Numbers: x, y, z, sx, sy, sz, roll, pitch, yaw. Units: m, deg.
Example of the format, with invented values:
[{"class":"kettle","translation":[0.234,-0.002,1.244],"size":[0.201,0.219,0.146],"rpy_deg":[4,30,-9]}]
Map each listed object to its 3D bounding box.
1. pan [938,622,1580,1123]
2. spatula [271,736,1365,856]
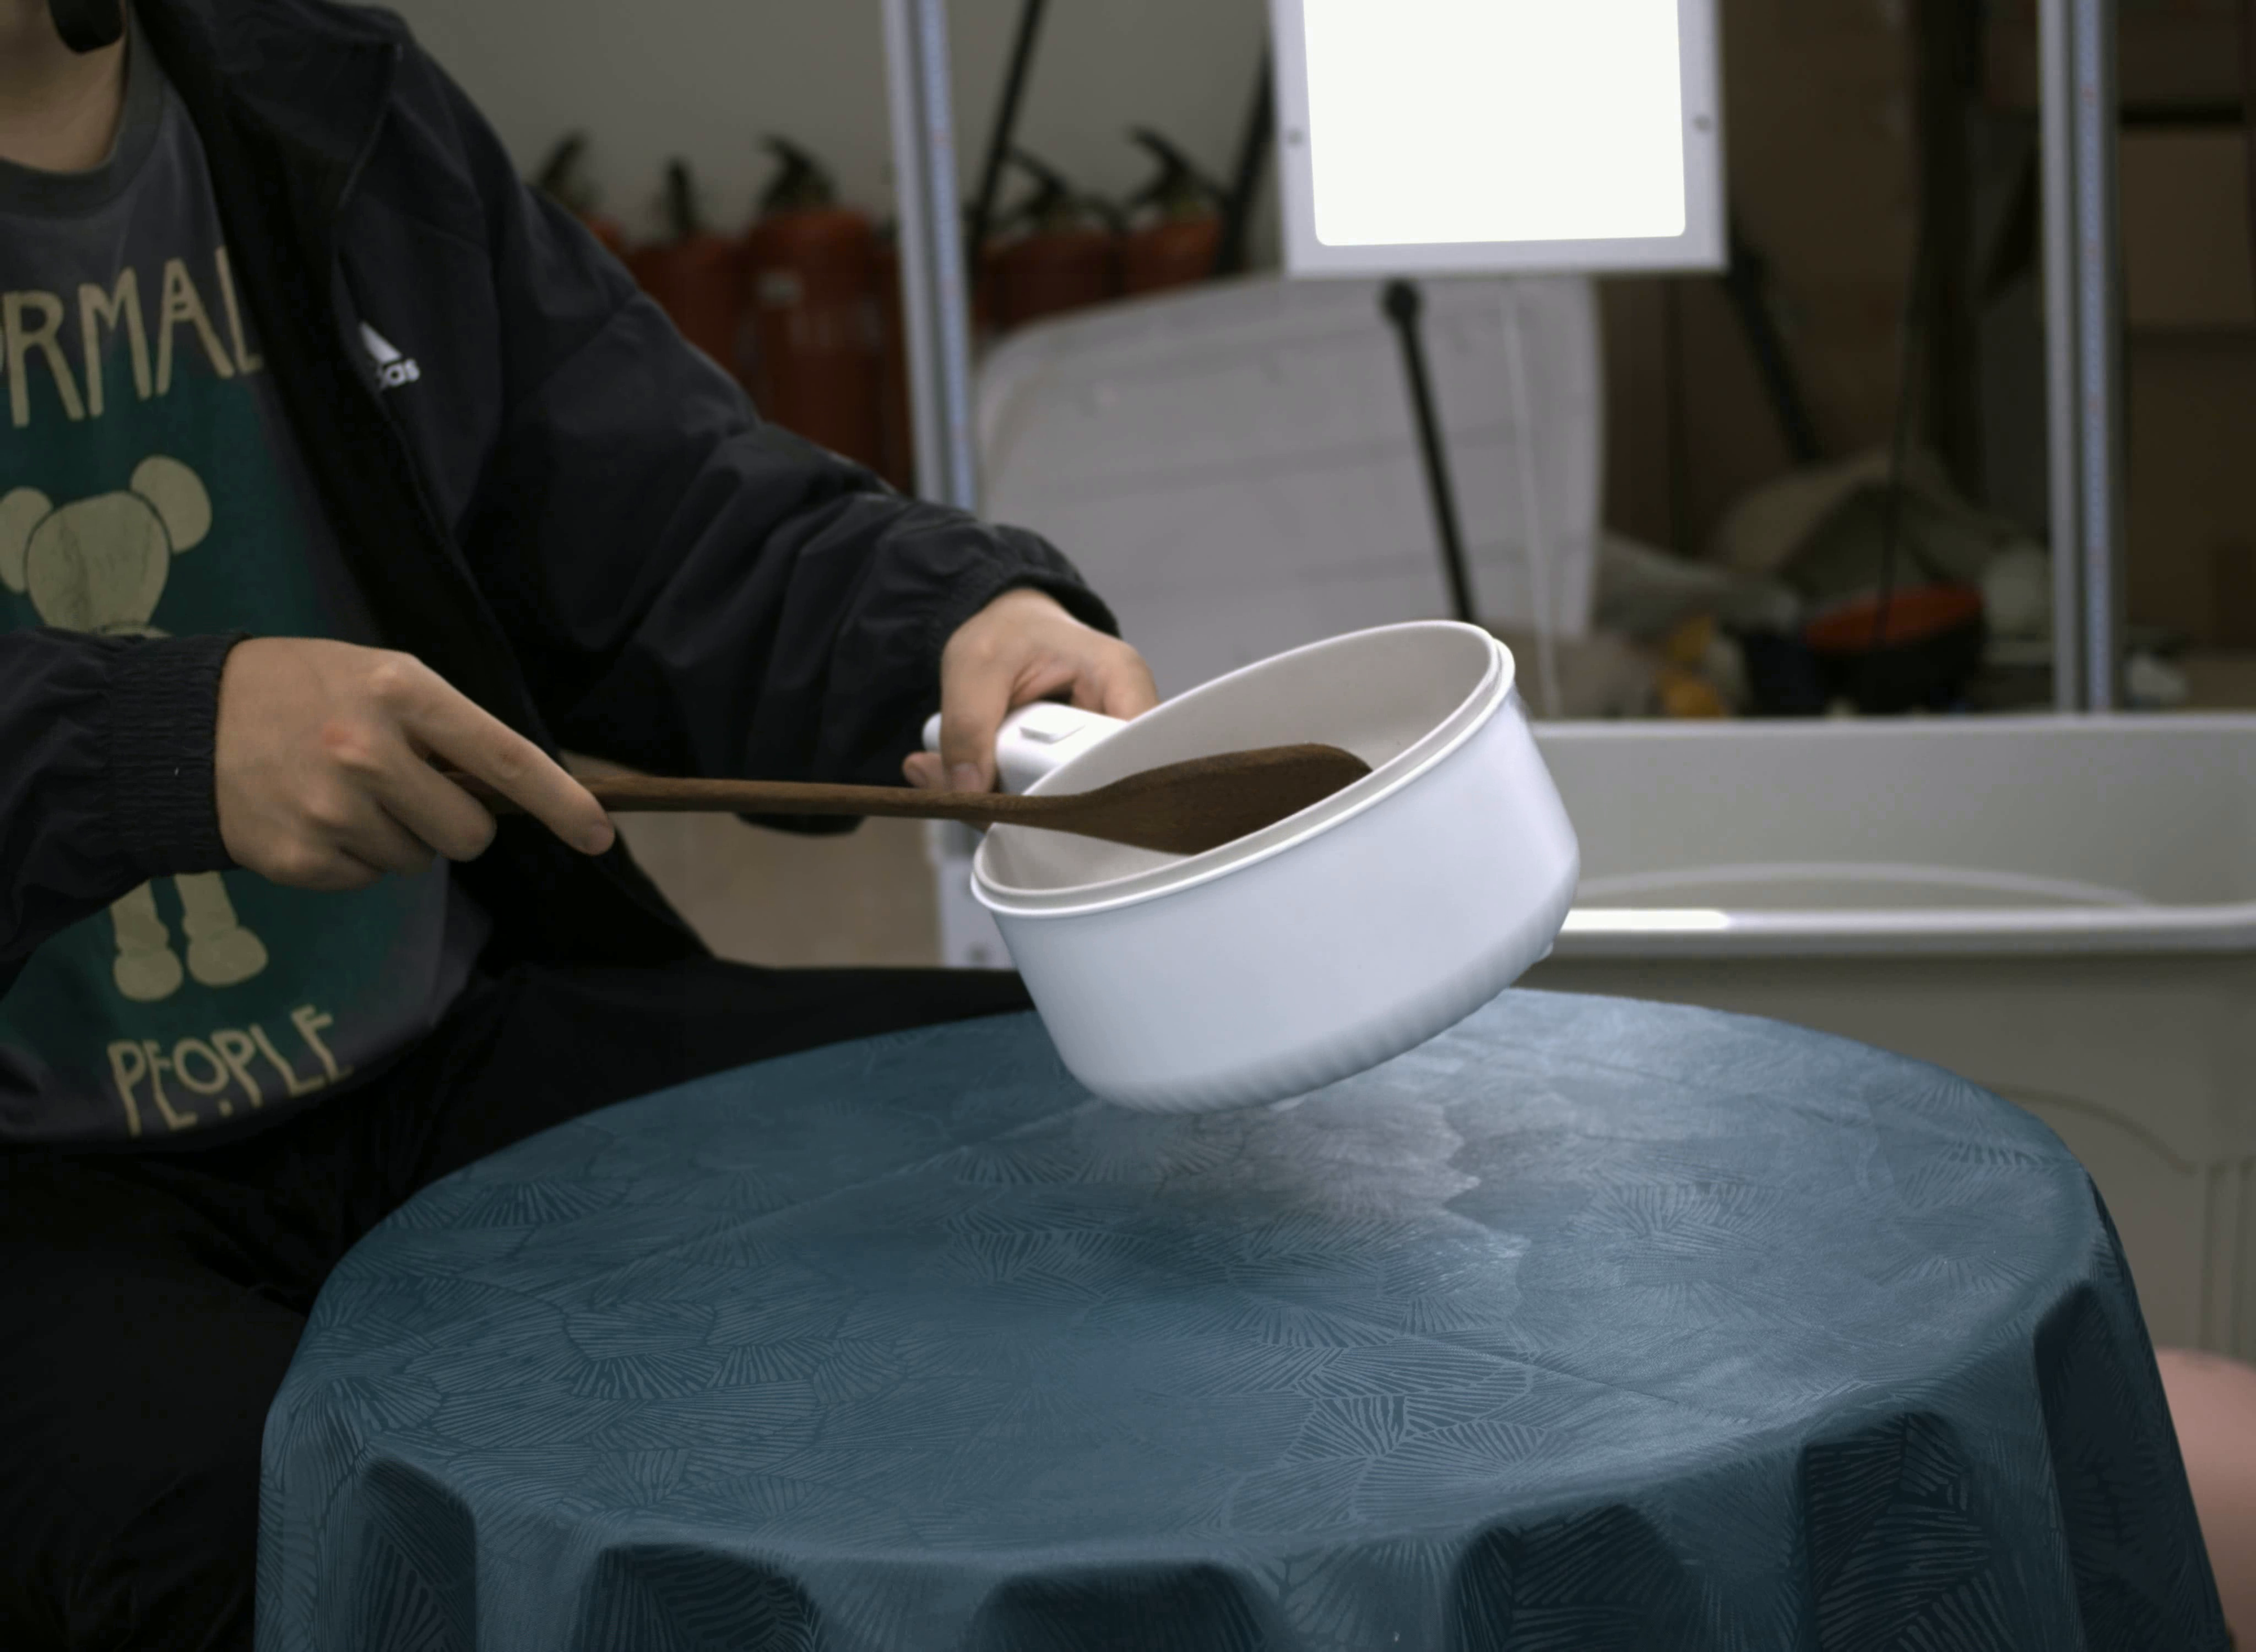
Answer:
[{"class":"pan","translation":[0.026,0.014,1.957],"size":[0.198,0.102,0.360],"rpy_deg":[-31,16,-17]},{"class":"spatula","translation":[-0.106,-0.009,1.909],"size":[0.386,0.016,0.096],"rpy_deg":[1,-21,5]}]
